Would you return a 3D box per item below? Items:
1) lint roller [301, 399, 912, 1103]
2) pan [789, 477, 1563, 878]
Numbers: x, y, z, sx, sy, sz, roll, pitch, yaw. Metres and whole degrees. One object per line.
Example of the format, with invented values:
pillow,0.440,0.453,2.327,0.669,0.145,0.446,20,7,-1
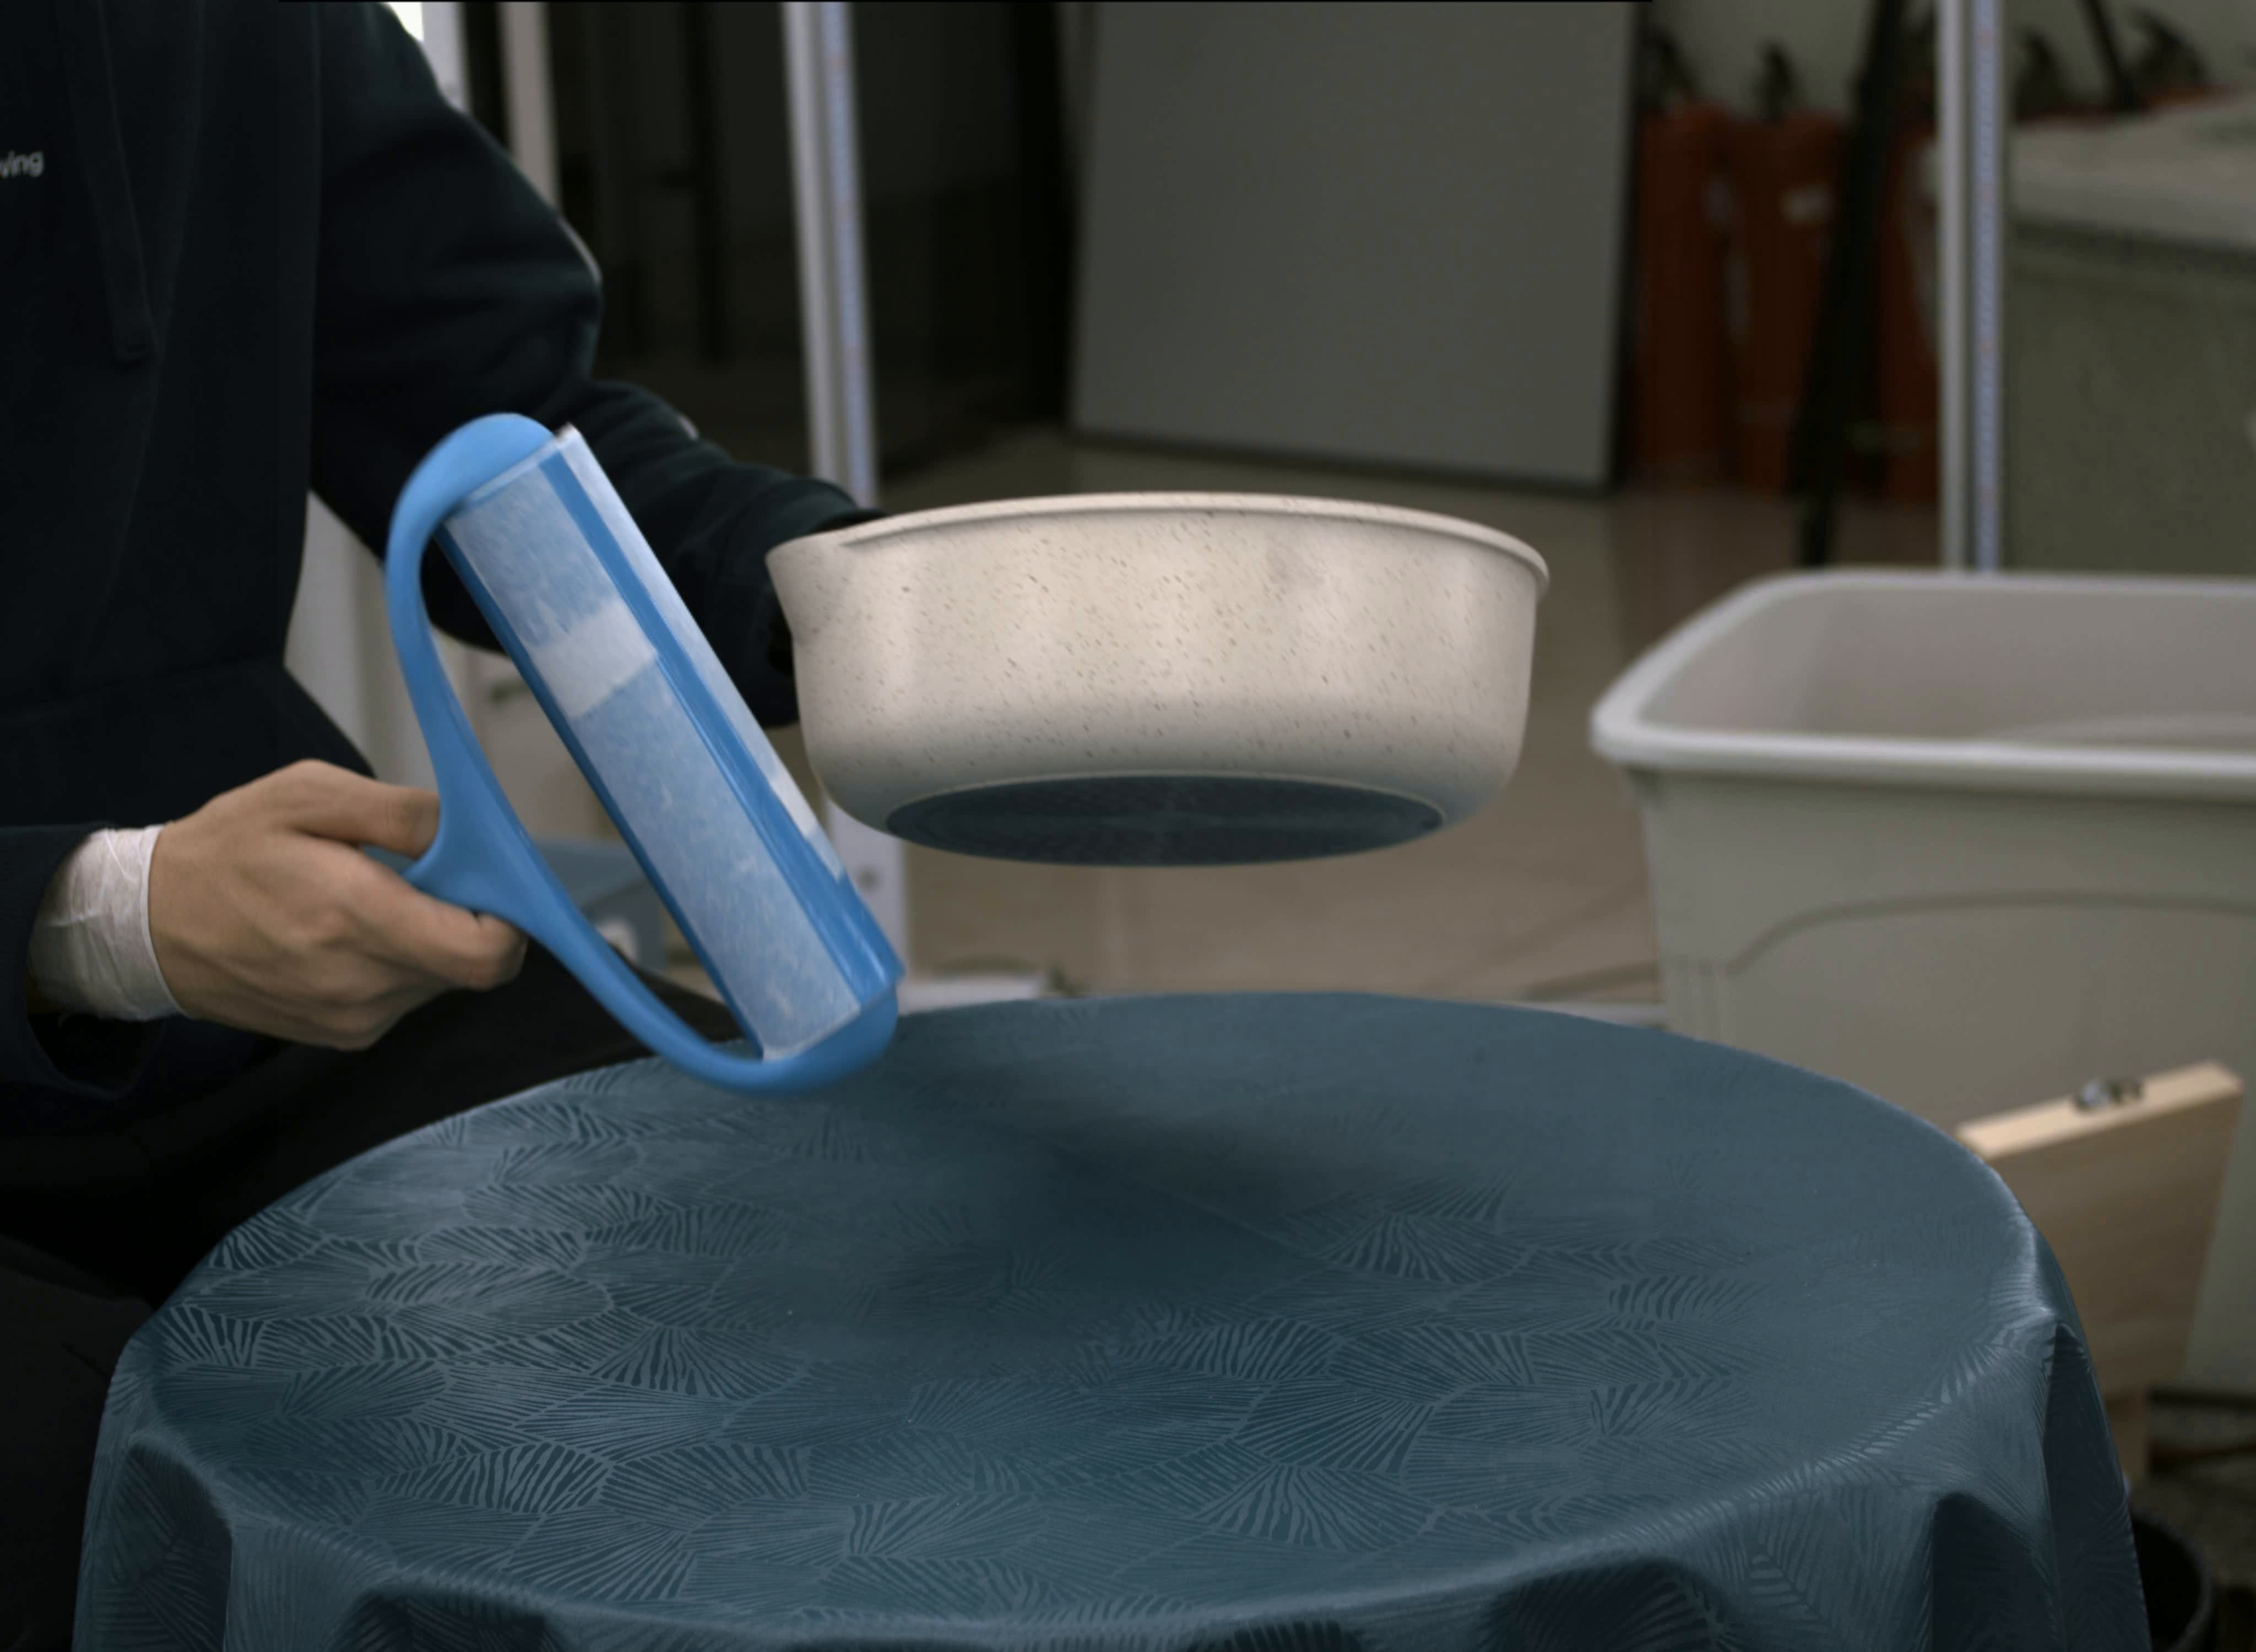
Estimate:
lint roller,-0.184,0.006,1.637,0.180,0.229,0.067,-31,6,18
pan,-0.017,-0.033,1.824,0.257,0.103,0.438,3,-11,-21
